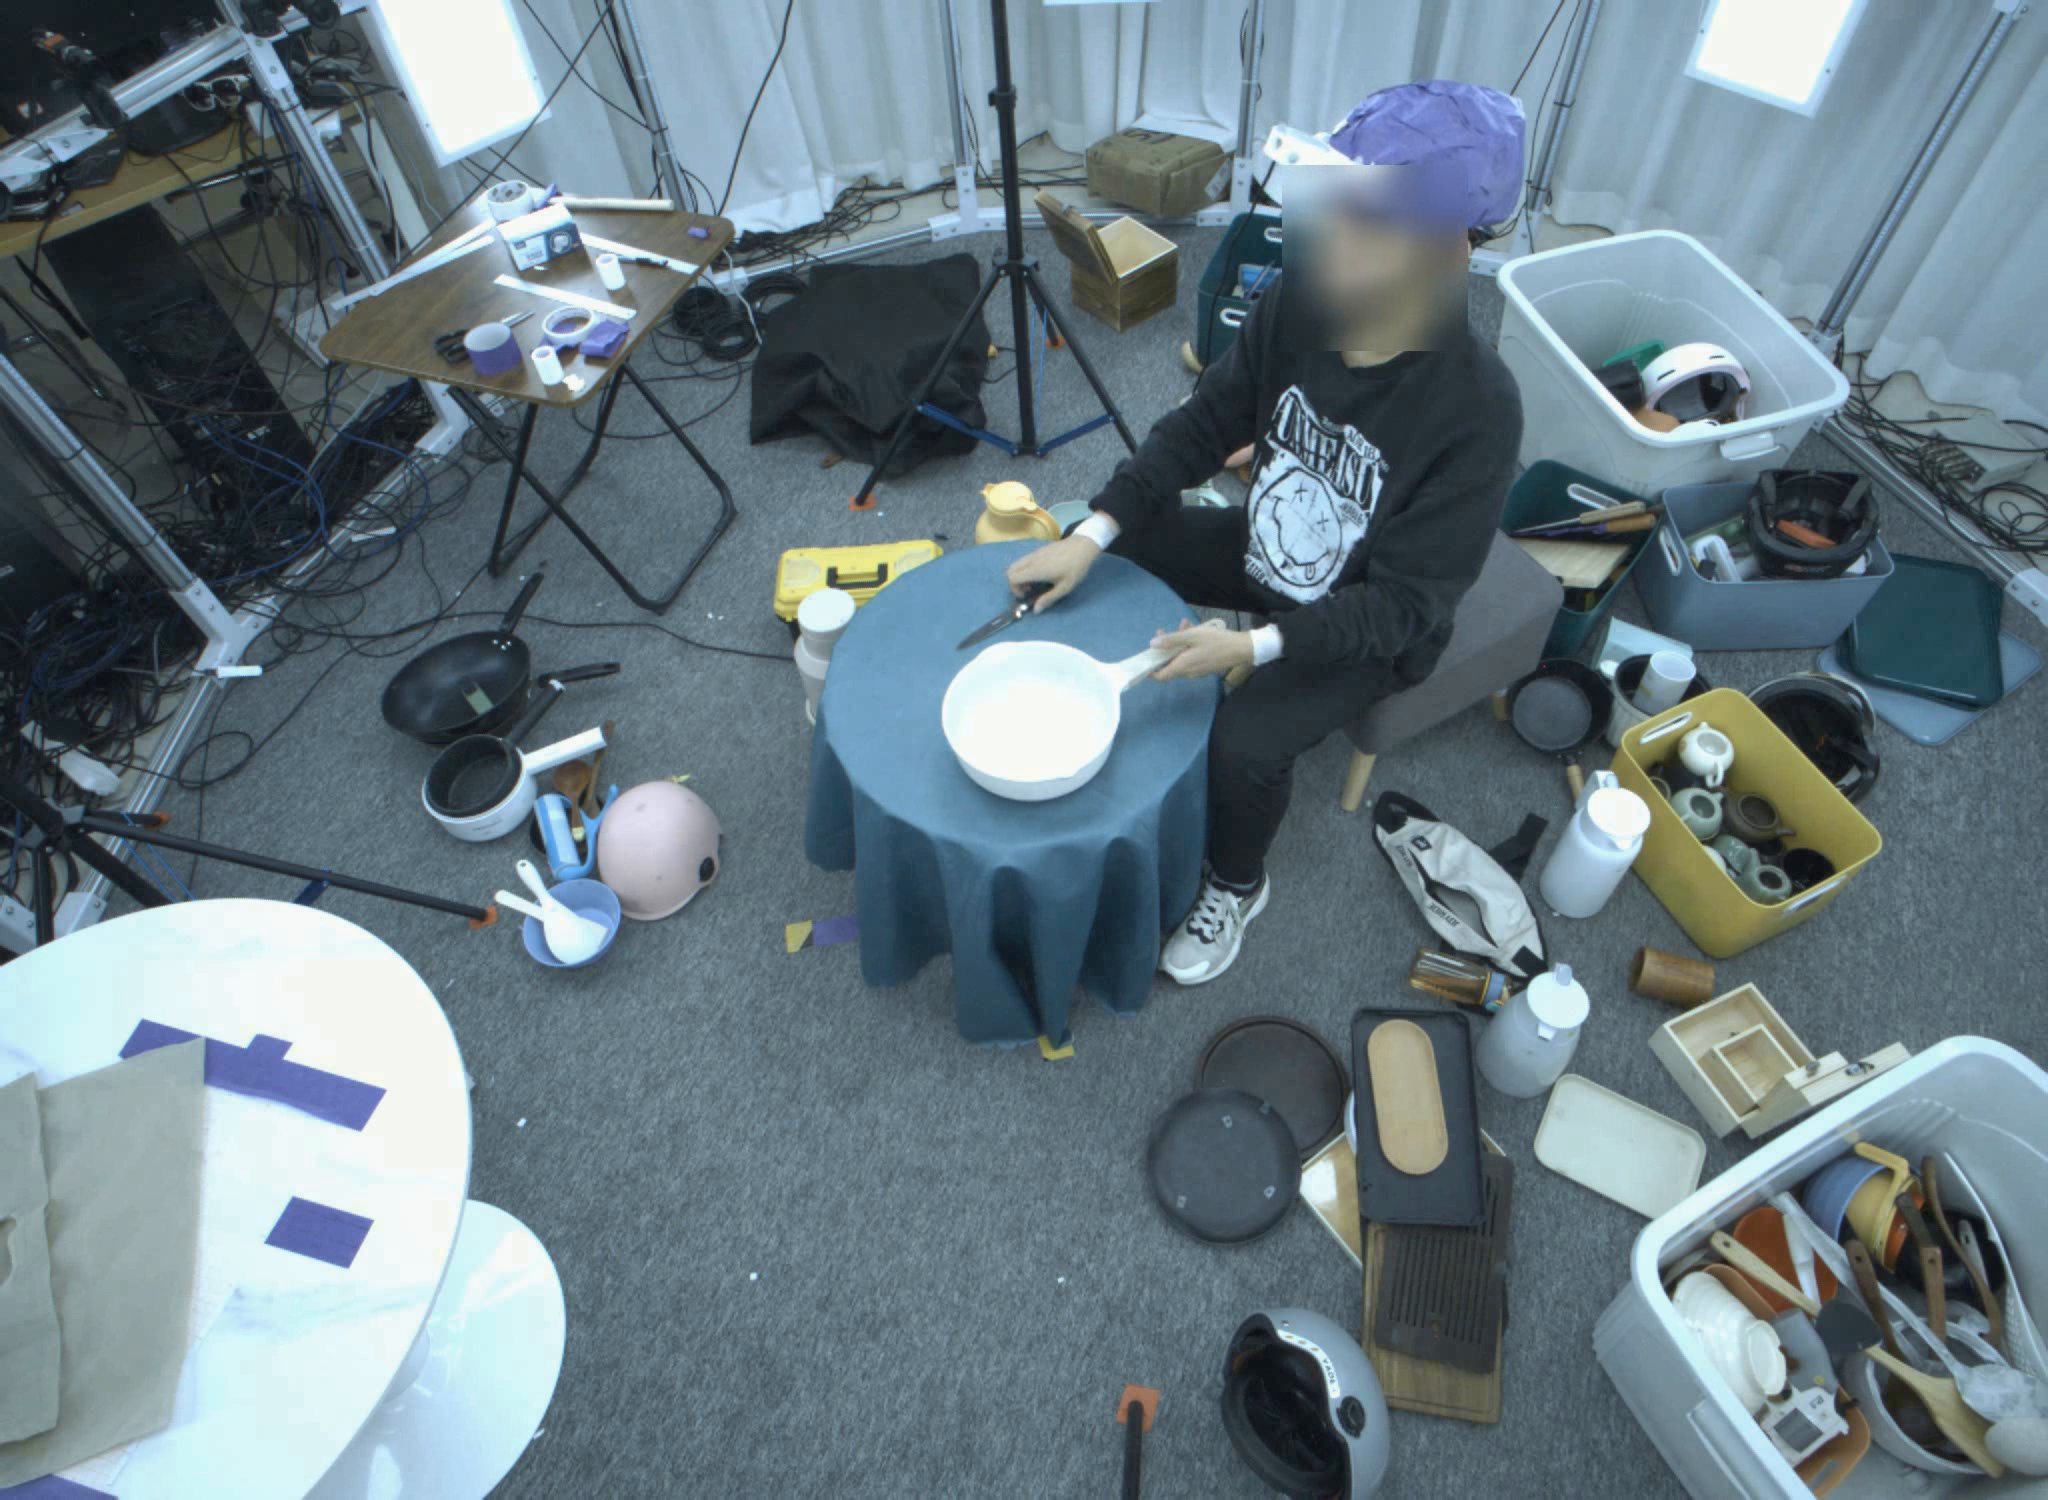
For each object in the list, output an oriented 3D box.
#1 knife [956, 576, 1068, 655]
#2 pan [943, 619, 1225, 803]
[{"bbox_3d":[-0.020,-0.213,1.931,0.227,0.017,0.026,-34,77,-20],"label":"knife"},{"bbox_3d":[0.097,-0.072,1.770,0.438,0.103,0.258,-22,55,-14],"label":"pan"}]
